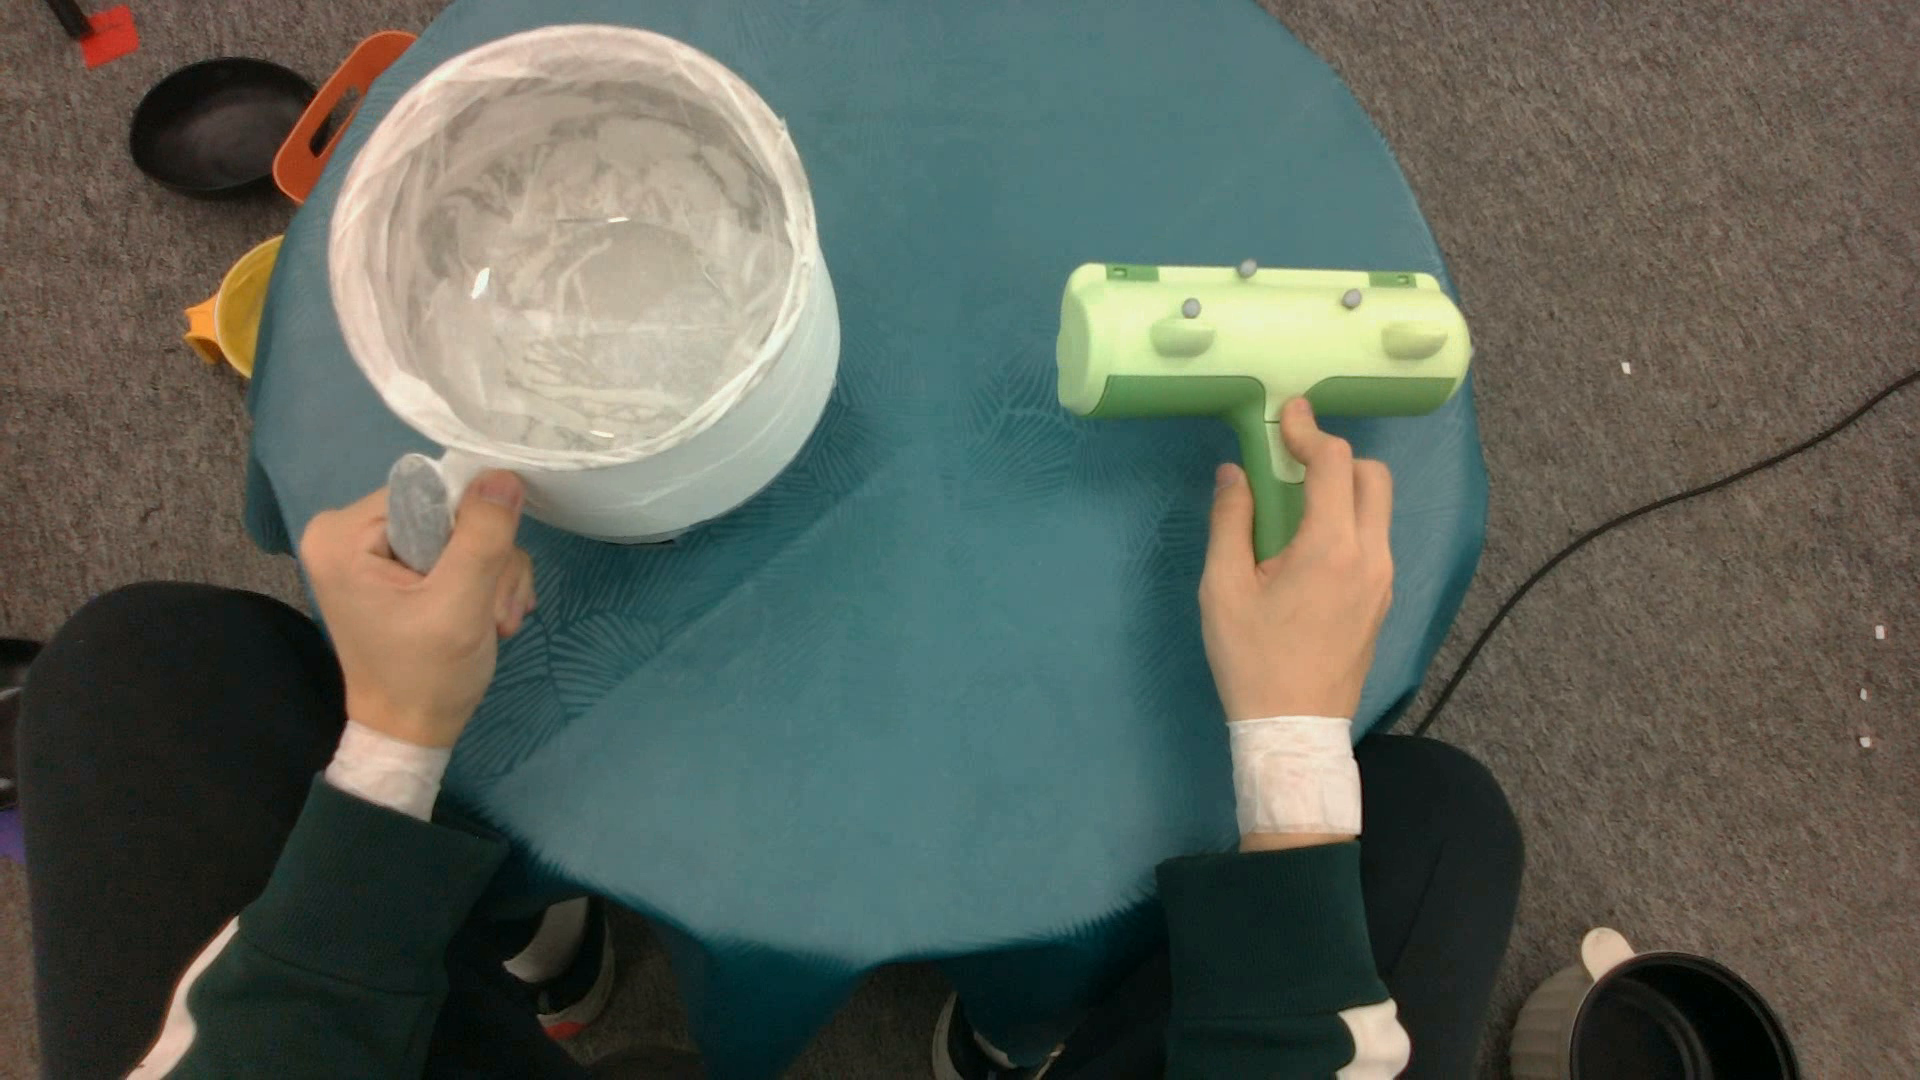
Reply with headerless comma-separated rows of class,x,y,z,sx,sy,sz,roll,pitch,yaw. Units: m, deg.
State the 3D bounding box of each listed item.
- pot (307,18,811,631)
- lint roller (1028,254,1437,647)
pot,-0.164,-0.075,0.561,0.179,0.136,0.234,25,76,4
lint roller,0.139,-0.049,0.625,0.199,0.082,0.184,-3,70,-17
